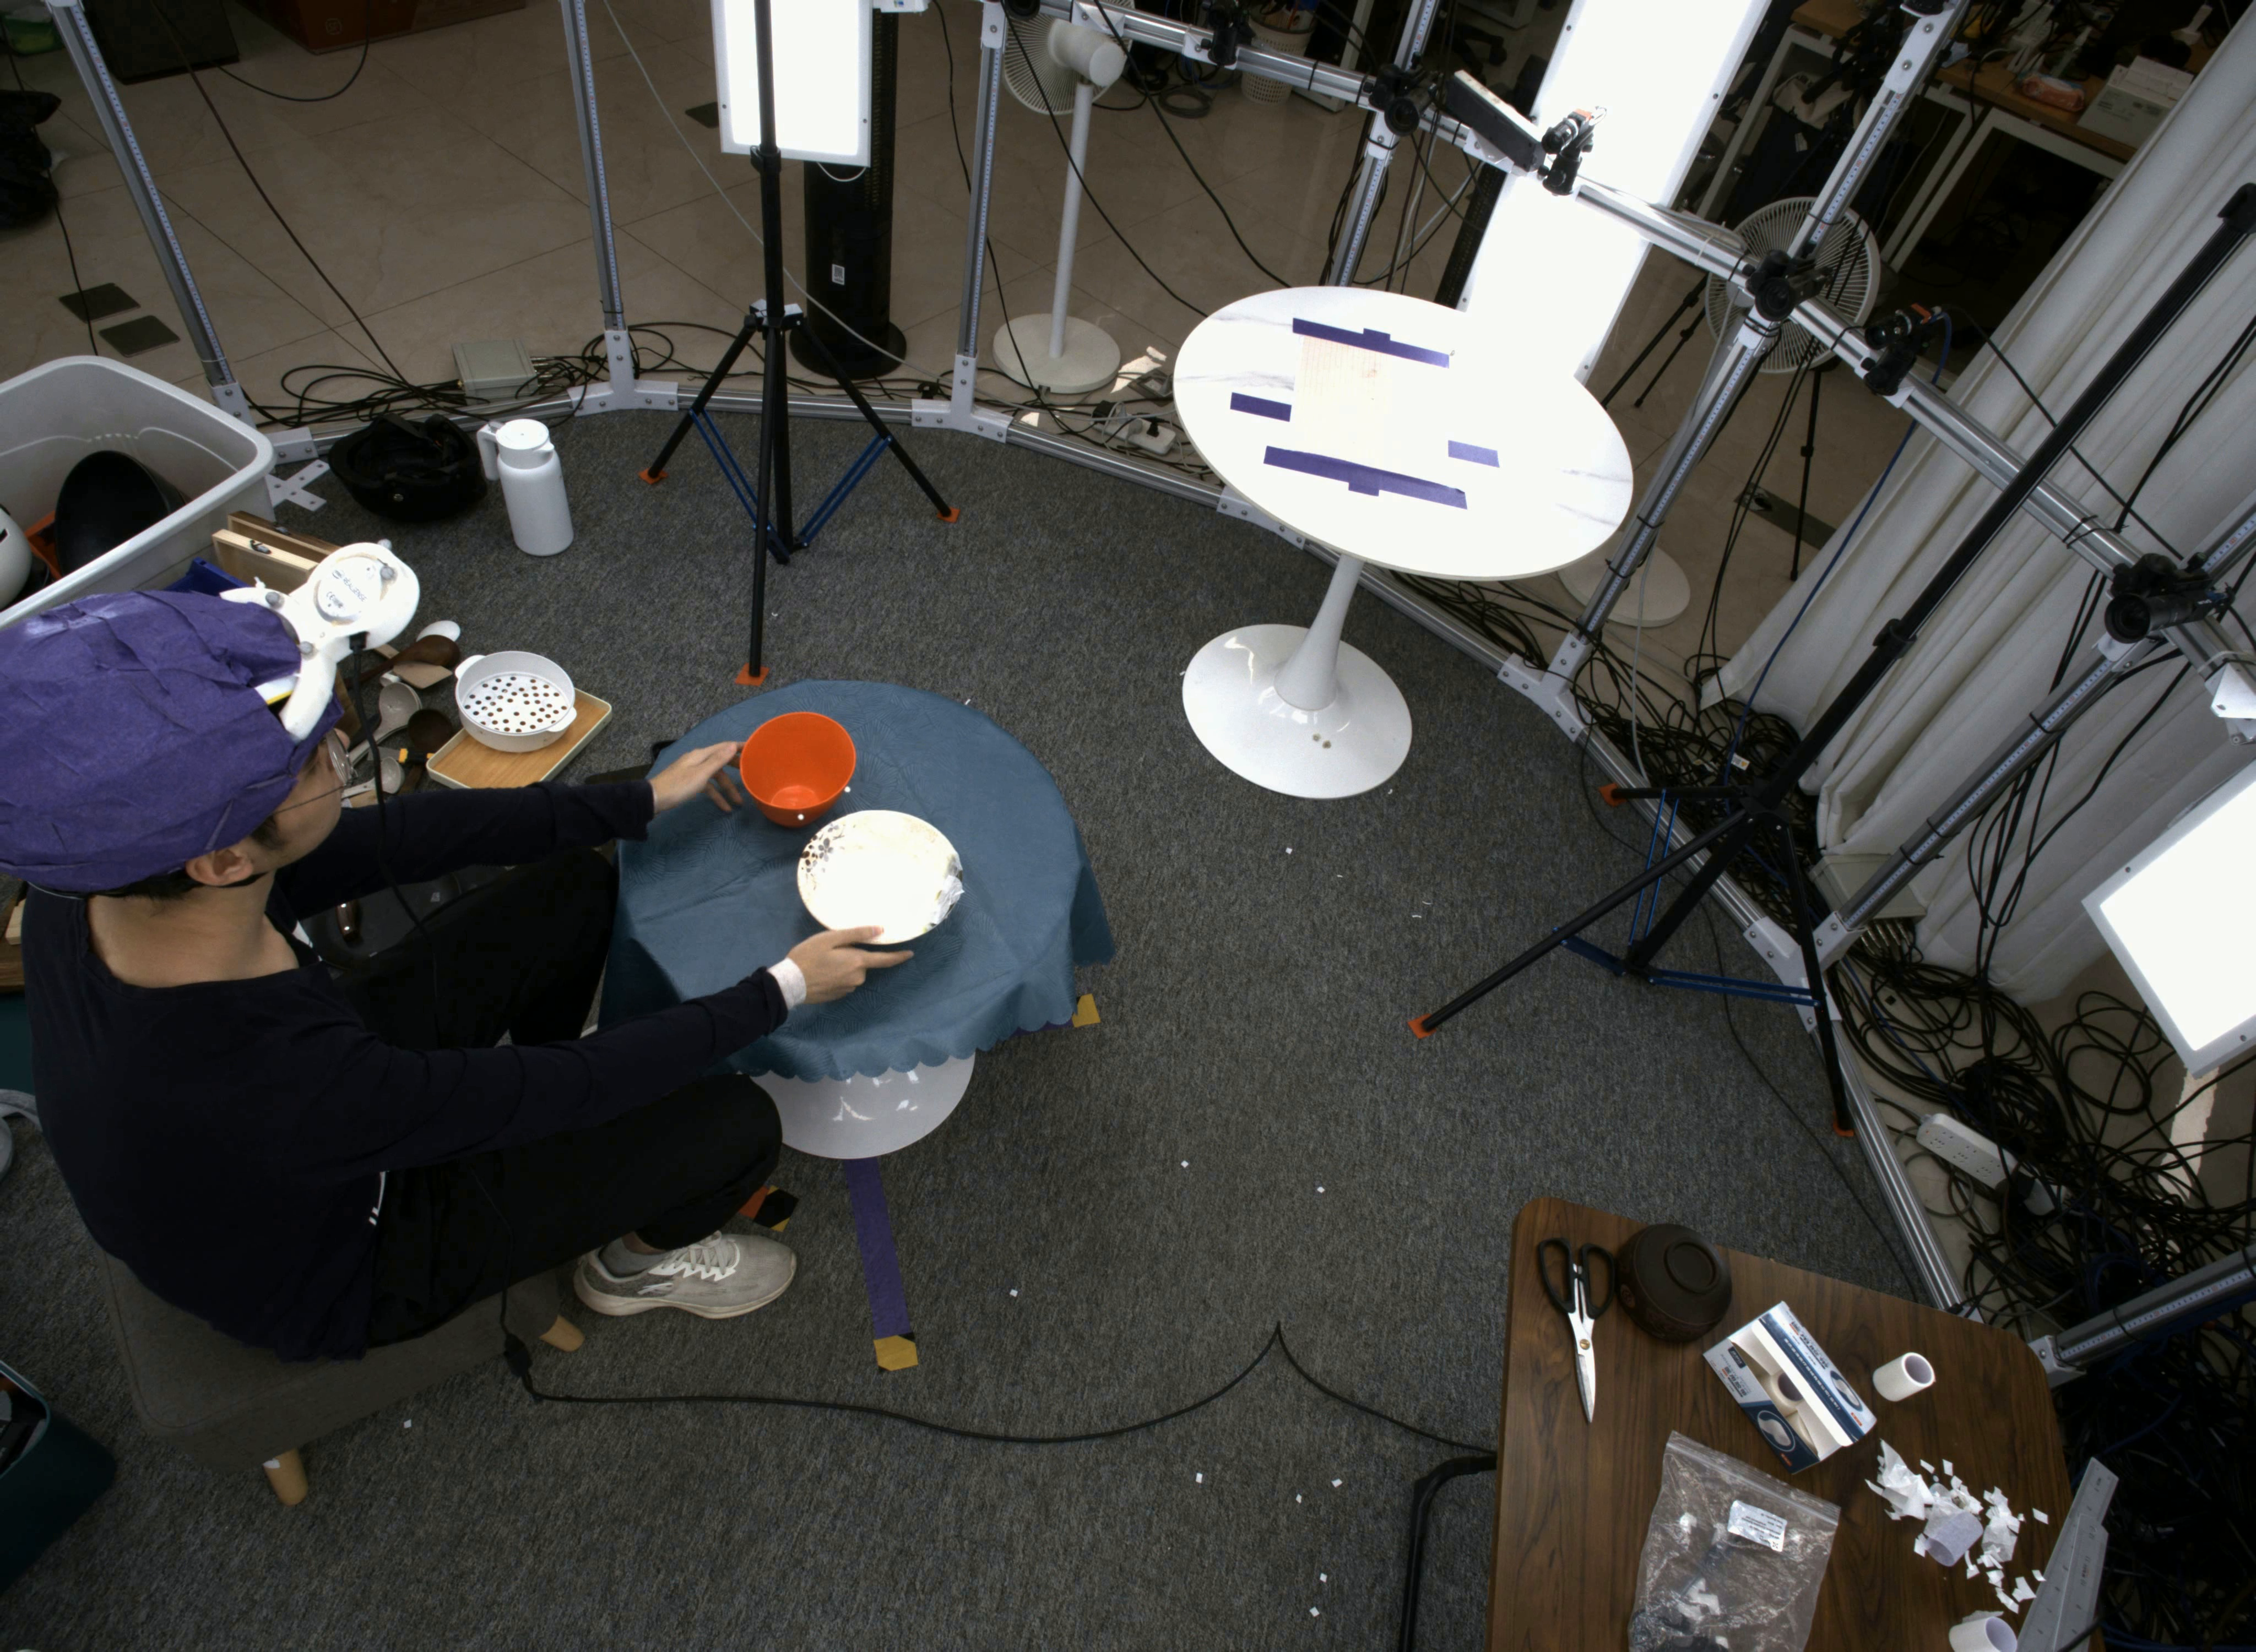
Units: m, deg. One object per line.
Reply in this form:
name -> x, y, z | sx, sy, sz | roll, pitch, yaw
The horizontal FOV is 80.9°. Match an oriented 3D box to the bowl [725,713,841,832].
bowl -> -0.452, -0.058, 1.707 | 0.147, 0.107, 0.145 | 6, 54, -7

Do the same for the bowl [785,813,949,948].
bowl -> -0.328, 0.085, 1.651 | 0.203, 0.080, 0.200 | 5, 54, -5
